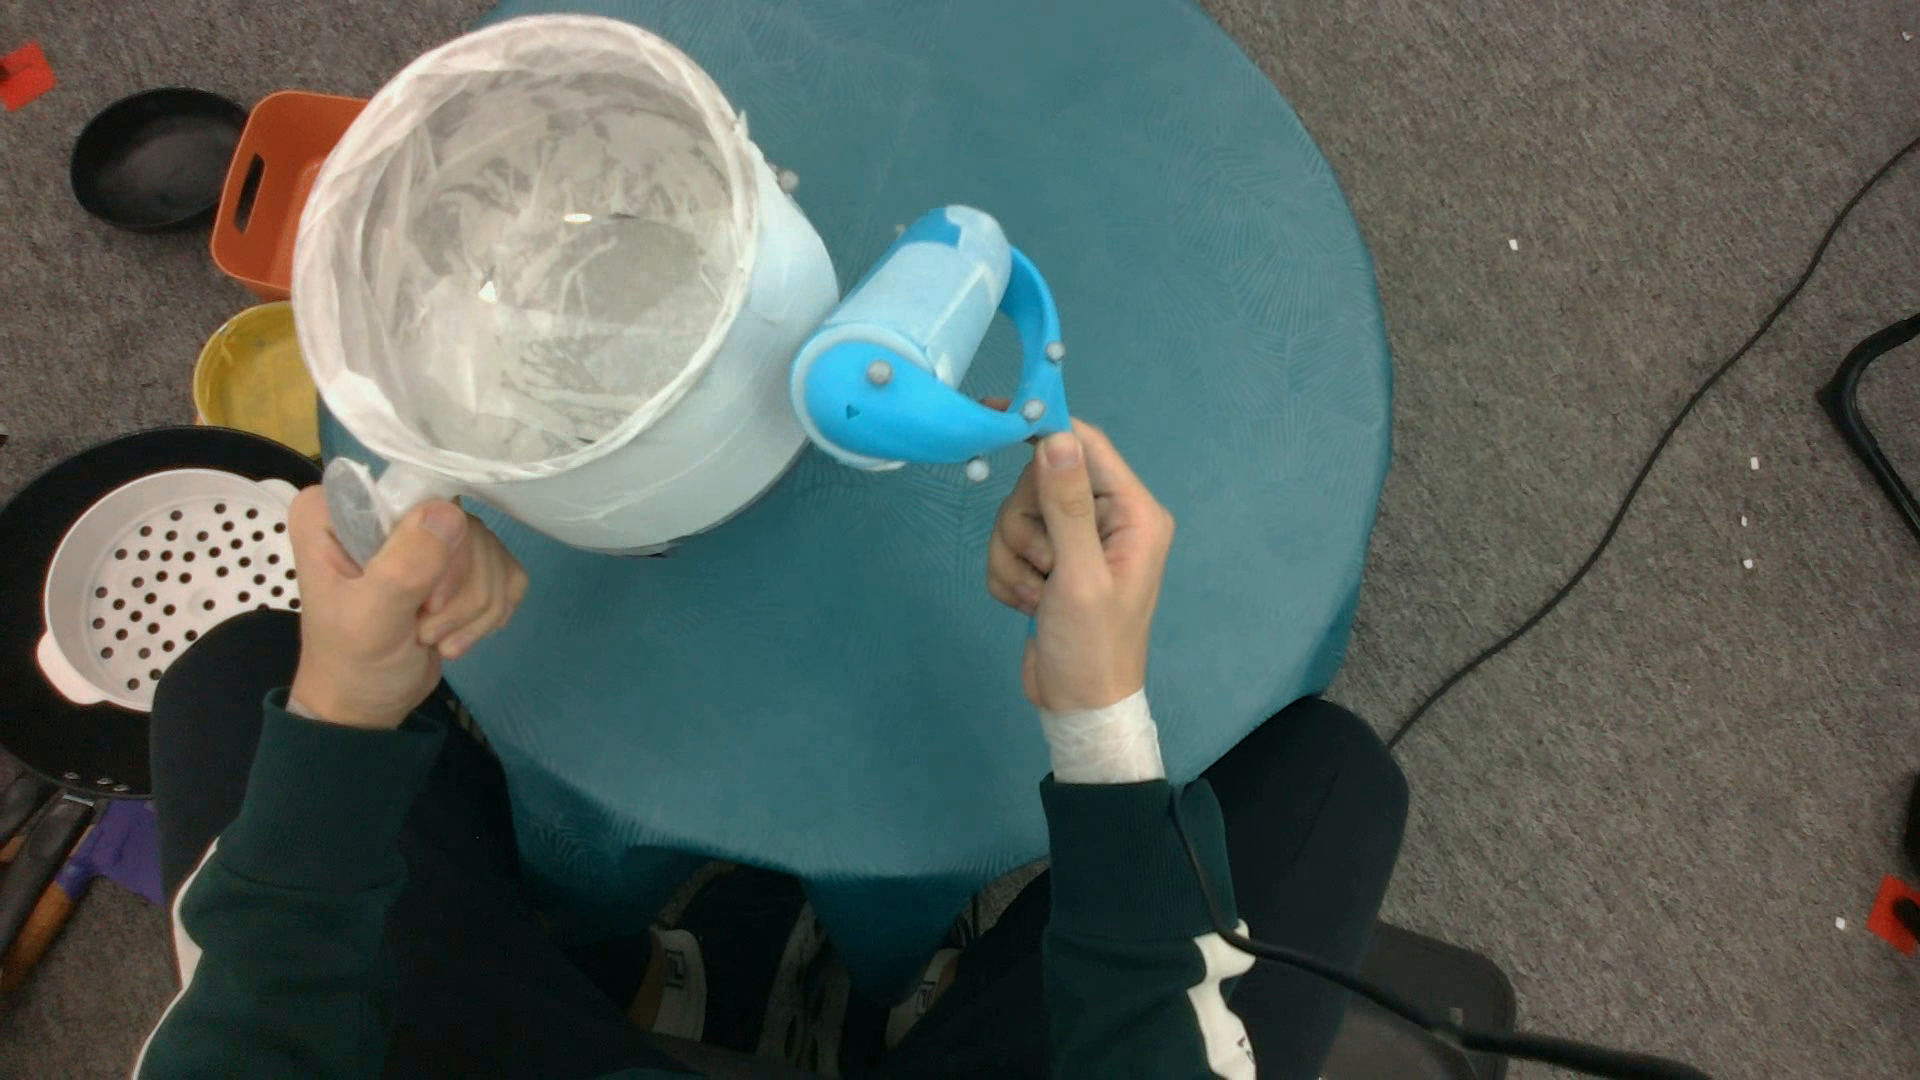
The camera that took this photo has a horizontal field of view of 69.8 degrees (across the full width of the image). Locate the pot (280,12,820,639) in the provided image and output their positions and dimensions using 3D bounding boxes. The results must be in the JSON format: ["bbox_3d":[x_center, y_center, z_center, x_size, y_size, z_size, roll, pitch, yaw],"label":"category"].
[{"bbox_3d":[-0.163,-0.069,0.541,0.179,0.136,0.234,30,83,15],"label":"pot"}]

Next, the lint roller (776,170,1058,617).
[{"bbox_3d":[0.007,-0.053,0.567,0.068,0.230,0.180,-26,113,18],"label":"lint roller"}]
